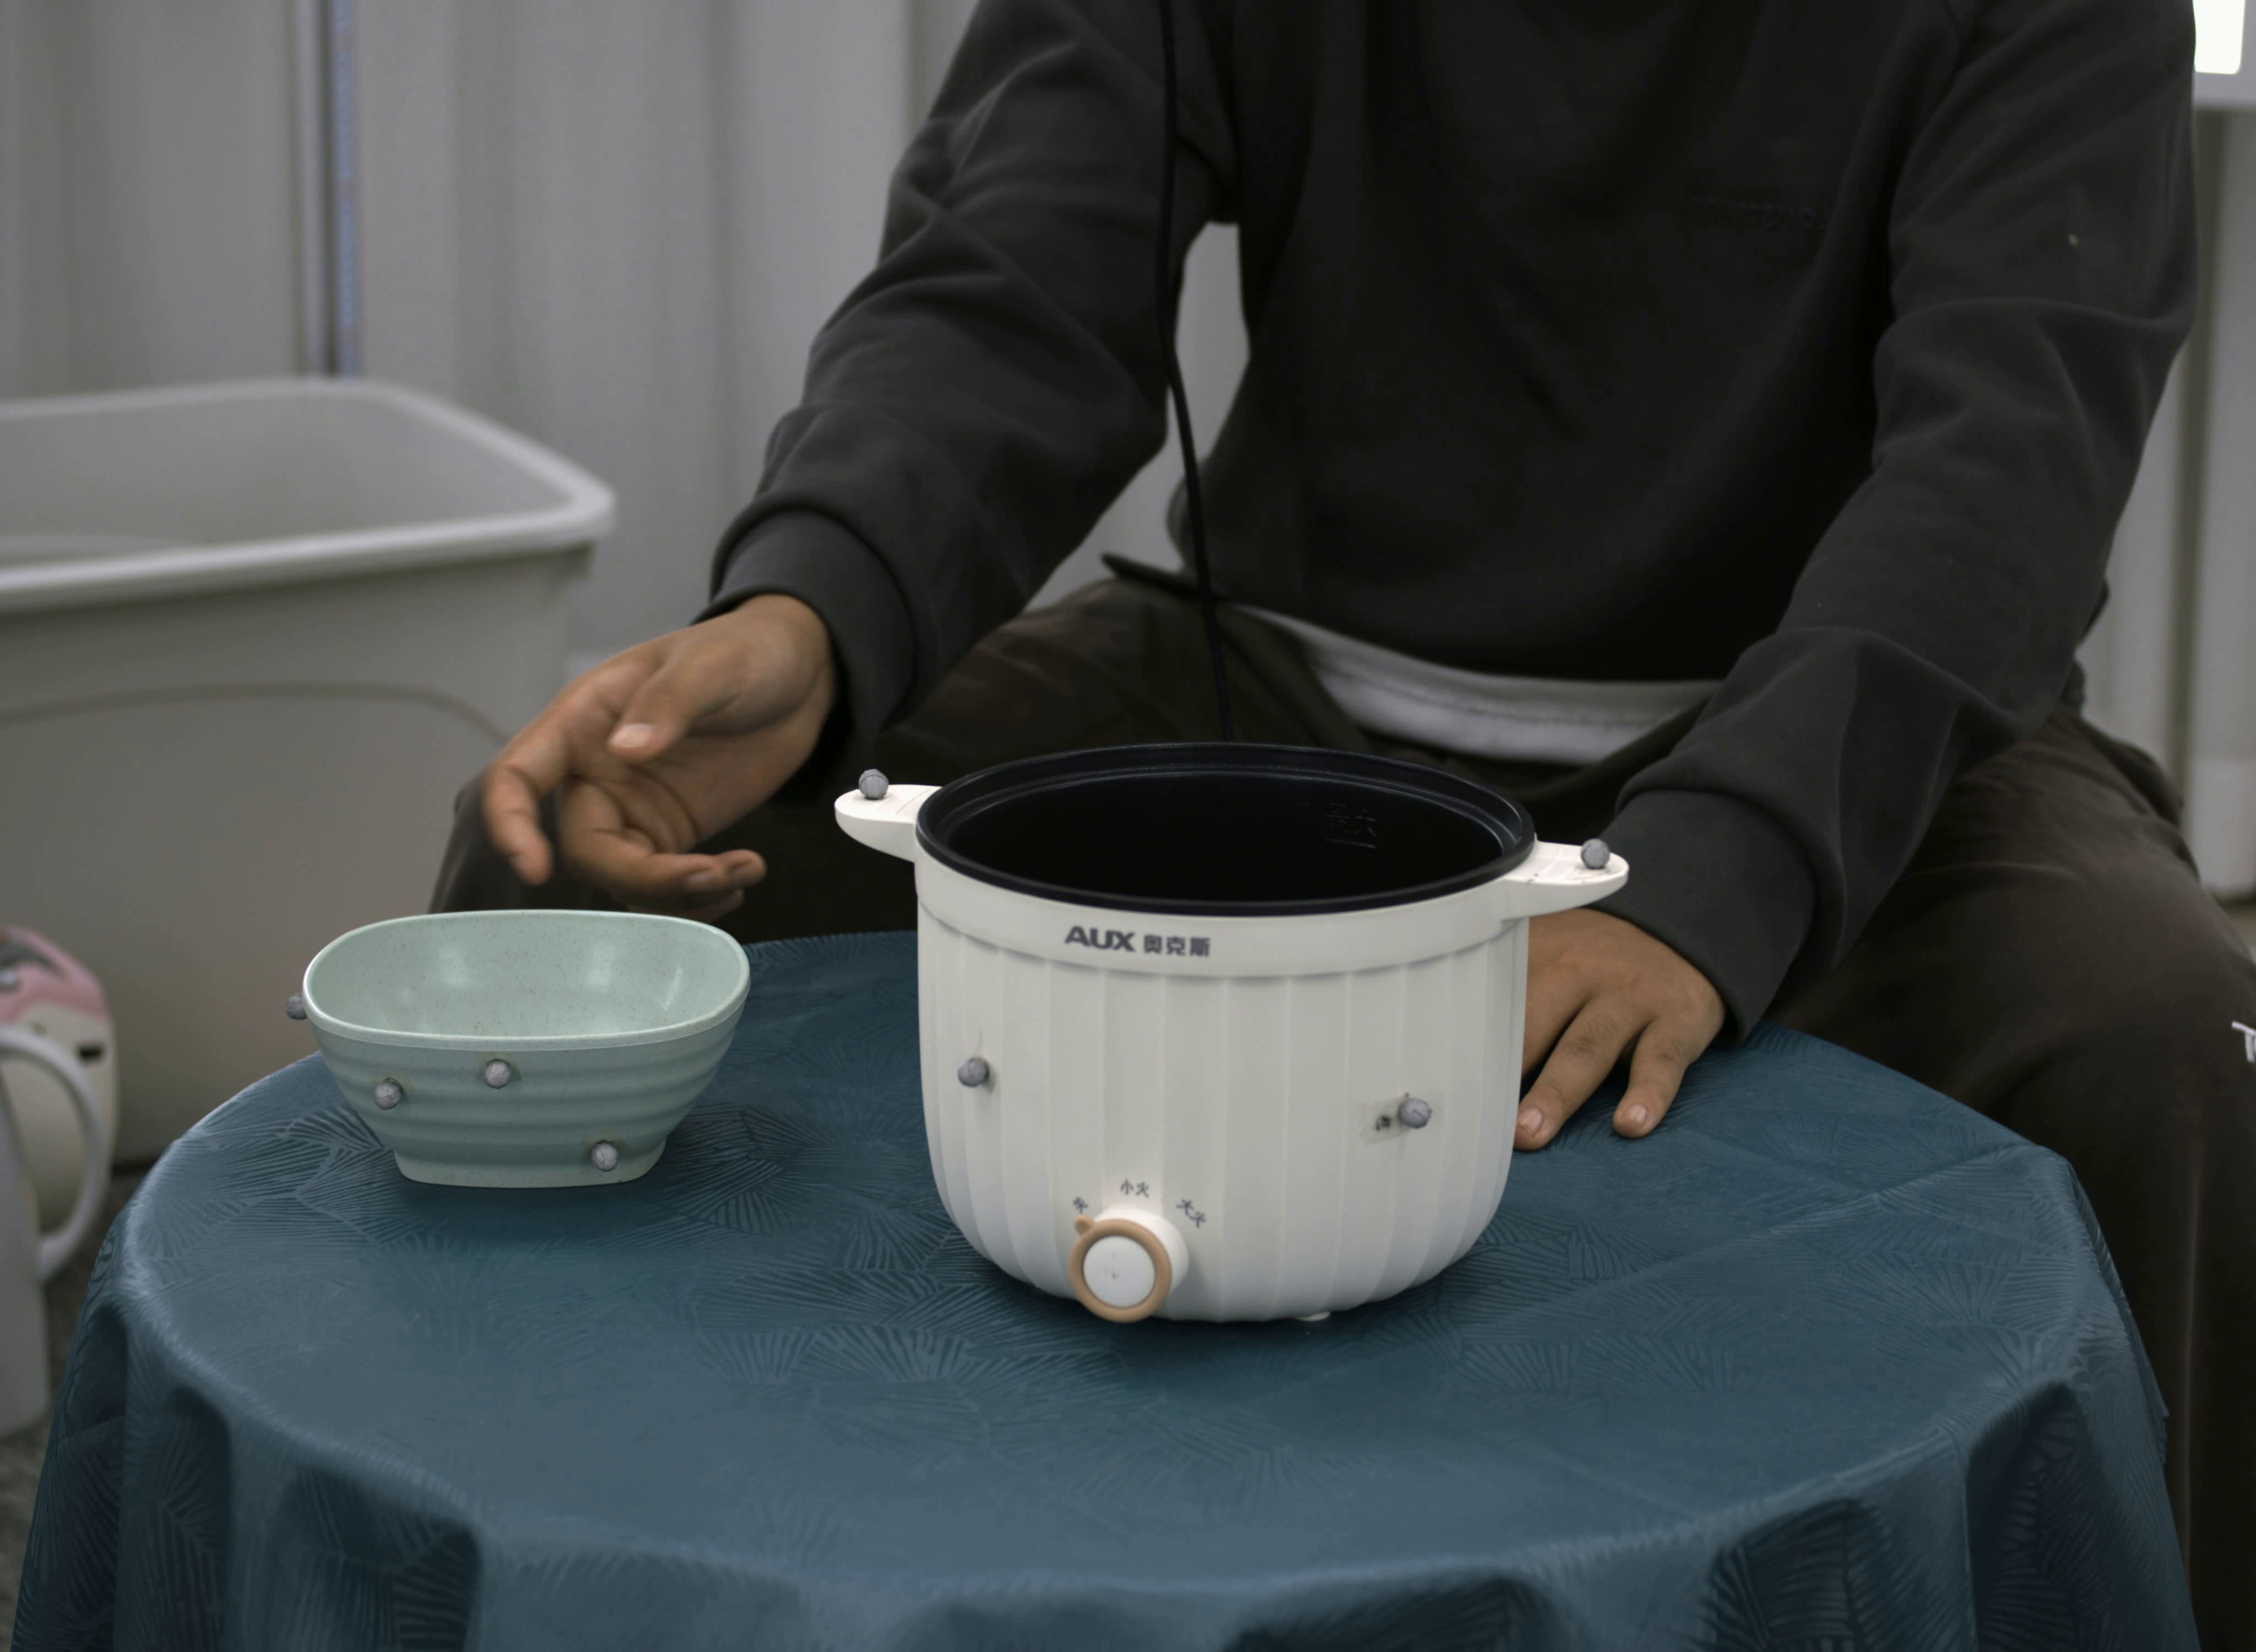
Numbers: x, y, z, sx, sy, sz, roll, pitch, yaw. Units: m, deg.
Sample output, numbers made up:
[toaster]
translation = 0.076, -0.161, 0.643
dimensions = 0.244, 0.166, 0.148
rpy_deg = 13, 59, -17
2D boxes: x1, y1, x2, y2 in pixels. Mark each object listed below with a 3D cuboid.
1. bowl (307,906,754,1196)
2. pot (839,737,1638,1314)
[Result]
[bowl]
translation = -0.186, 0.074, 1.652
dimensions = 0.151, 0.059, 0.150
rpy_deg = 1, 17, 0
[pot]
translation = 0.030, 0.061, 1.547
dimensions = 0.238, 0.143, 0.190
rpy_deg = 3, 13, 15
